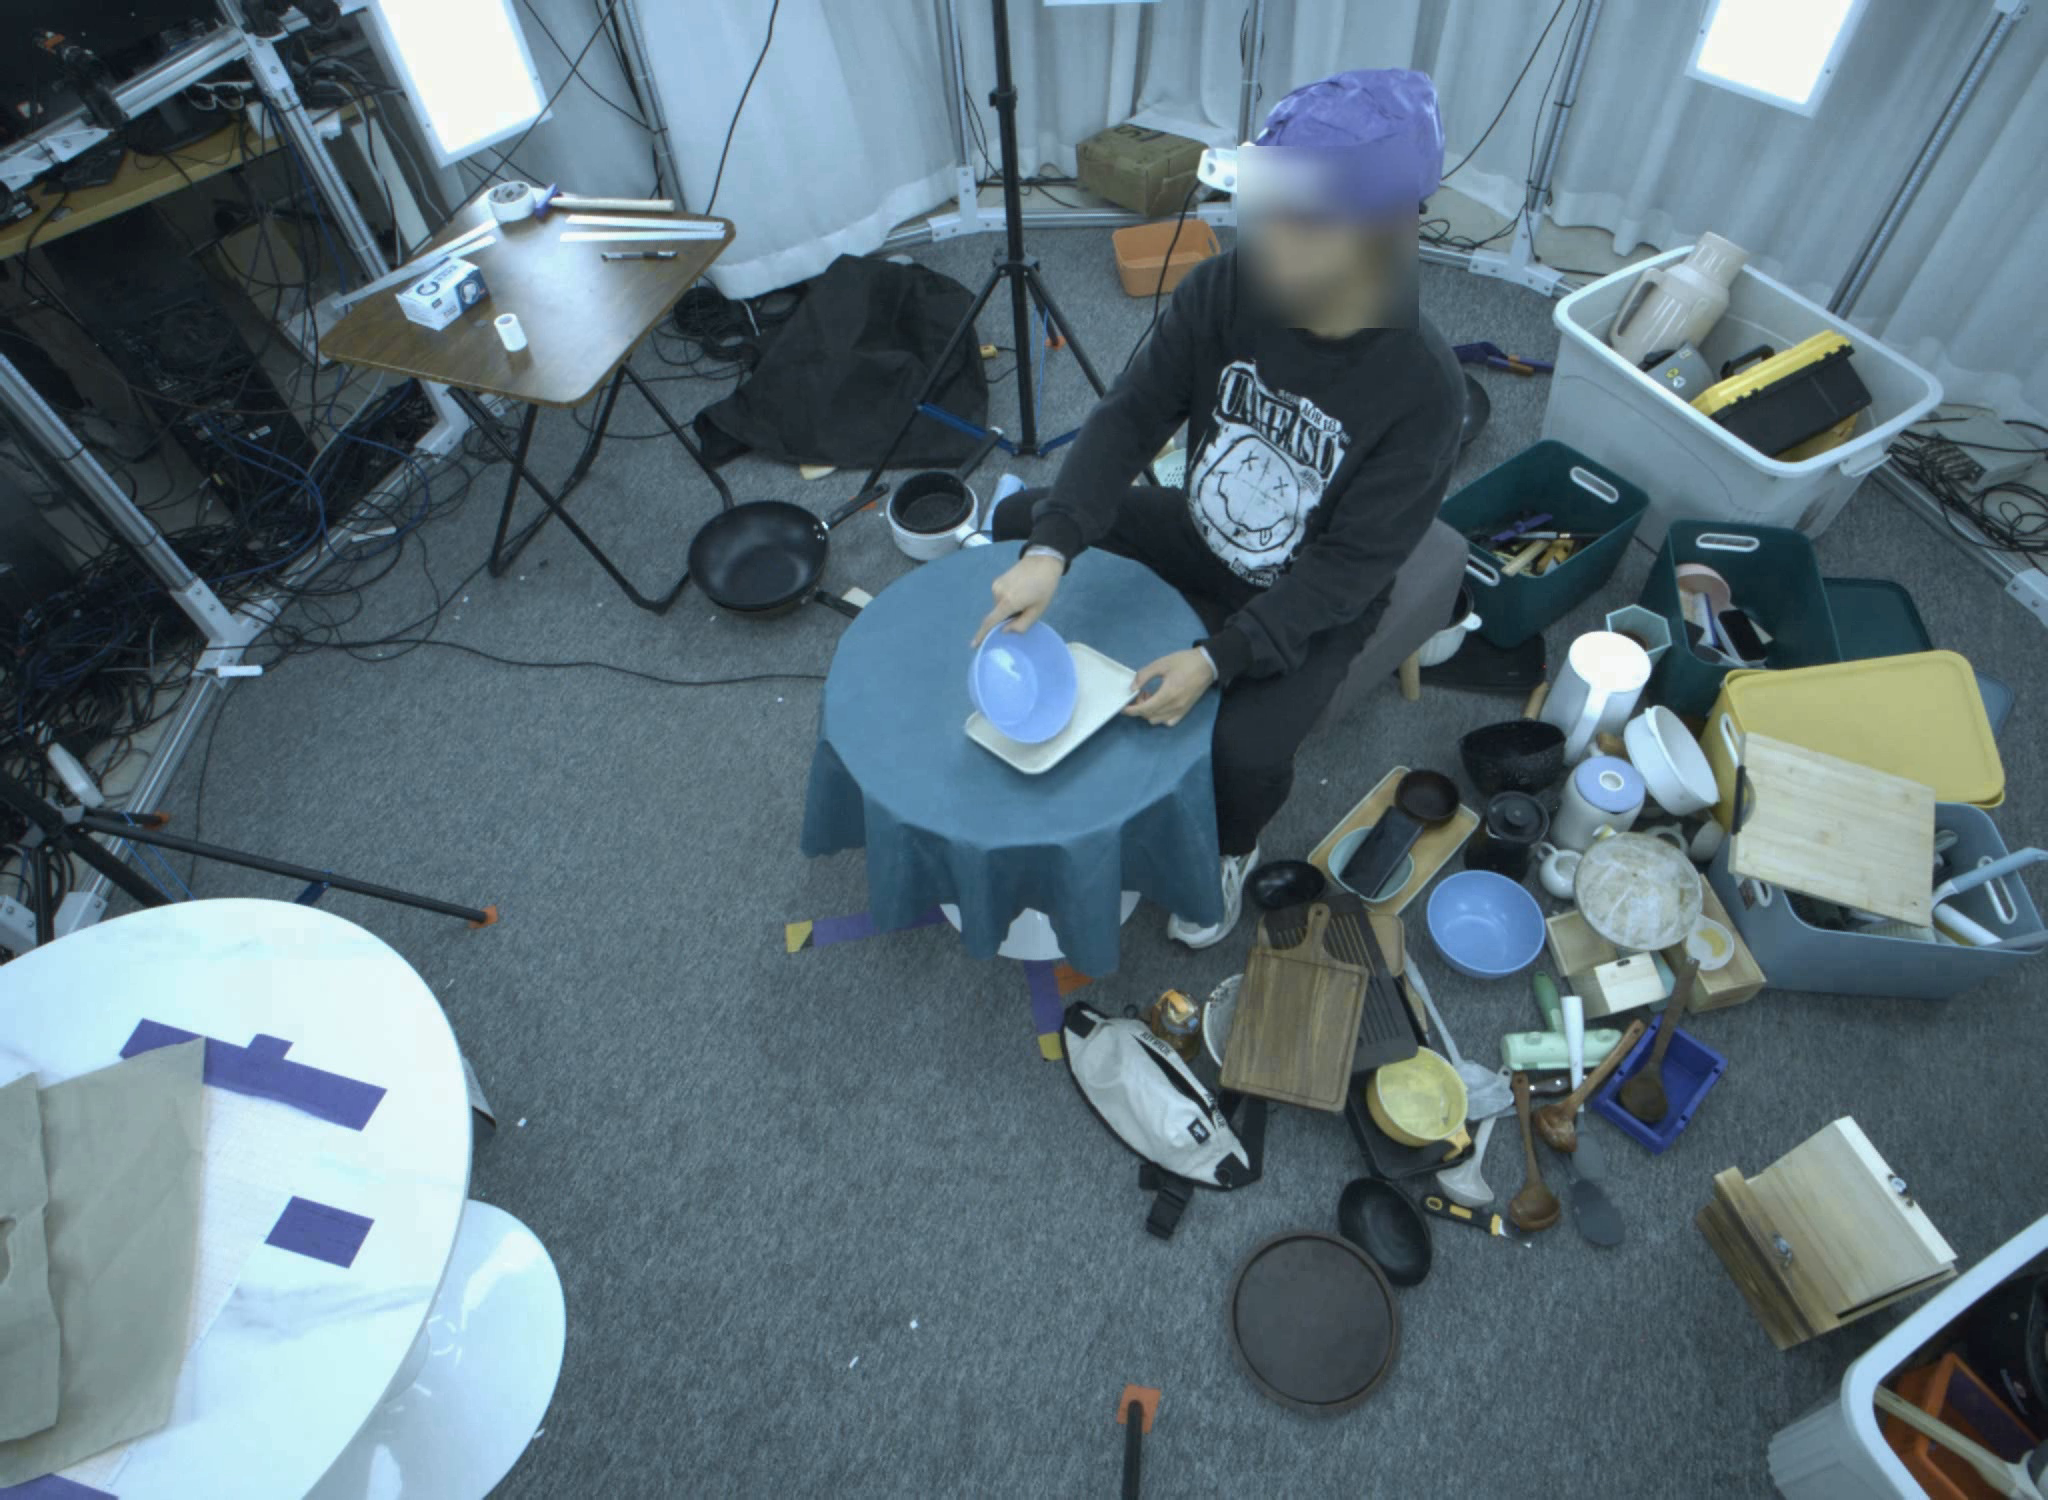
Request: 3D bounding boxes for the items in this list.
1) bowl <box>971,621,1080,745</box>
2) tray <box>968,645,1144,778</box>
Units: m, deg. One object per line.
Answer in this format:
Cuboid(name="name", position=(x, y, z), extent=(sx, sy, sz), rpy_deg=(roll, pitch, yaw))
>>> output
Cuboid(name="bowl", position=(-0.009, -0.092, 1.746), extent=(0.069, 0.179, 0.176), rpy_deg=(-5, 41, 52))
Cuboid(name="tray", position=(0.047, -0.058, 1.810), extent=(0.241, 0.018, 0.167), rpy_deg=(-39, 52, -23))
